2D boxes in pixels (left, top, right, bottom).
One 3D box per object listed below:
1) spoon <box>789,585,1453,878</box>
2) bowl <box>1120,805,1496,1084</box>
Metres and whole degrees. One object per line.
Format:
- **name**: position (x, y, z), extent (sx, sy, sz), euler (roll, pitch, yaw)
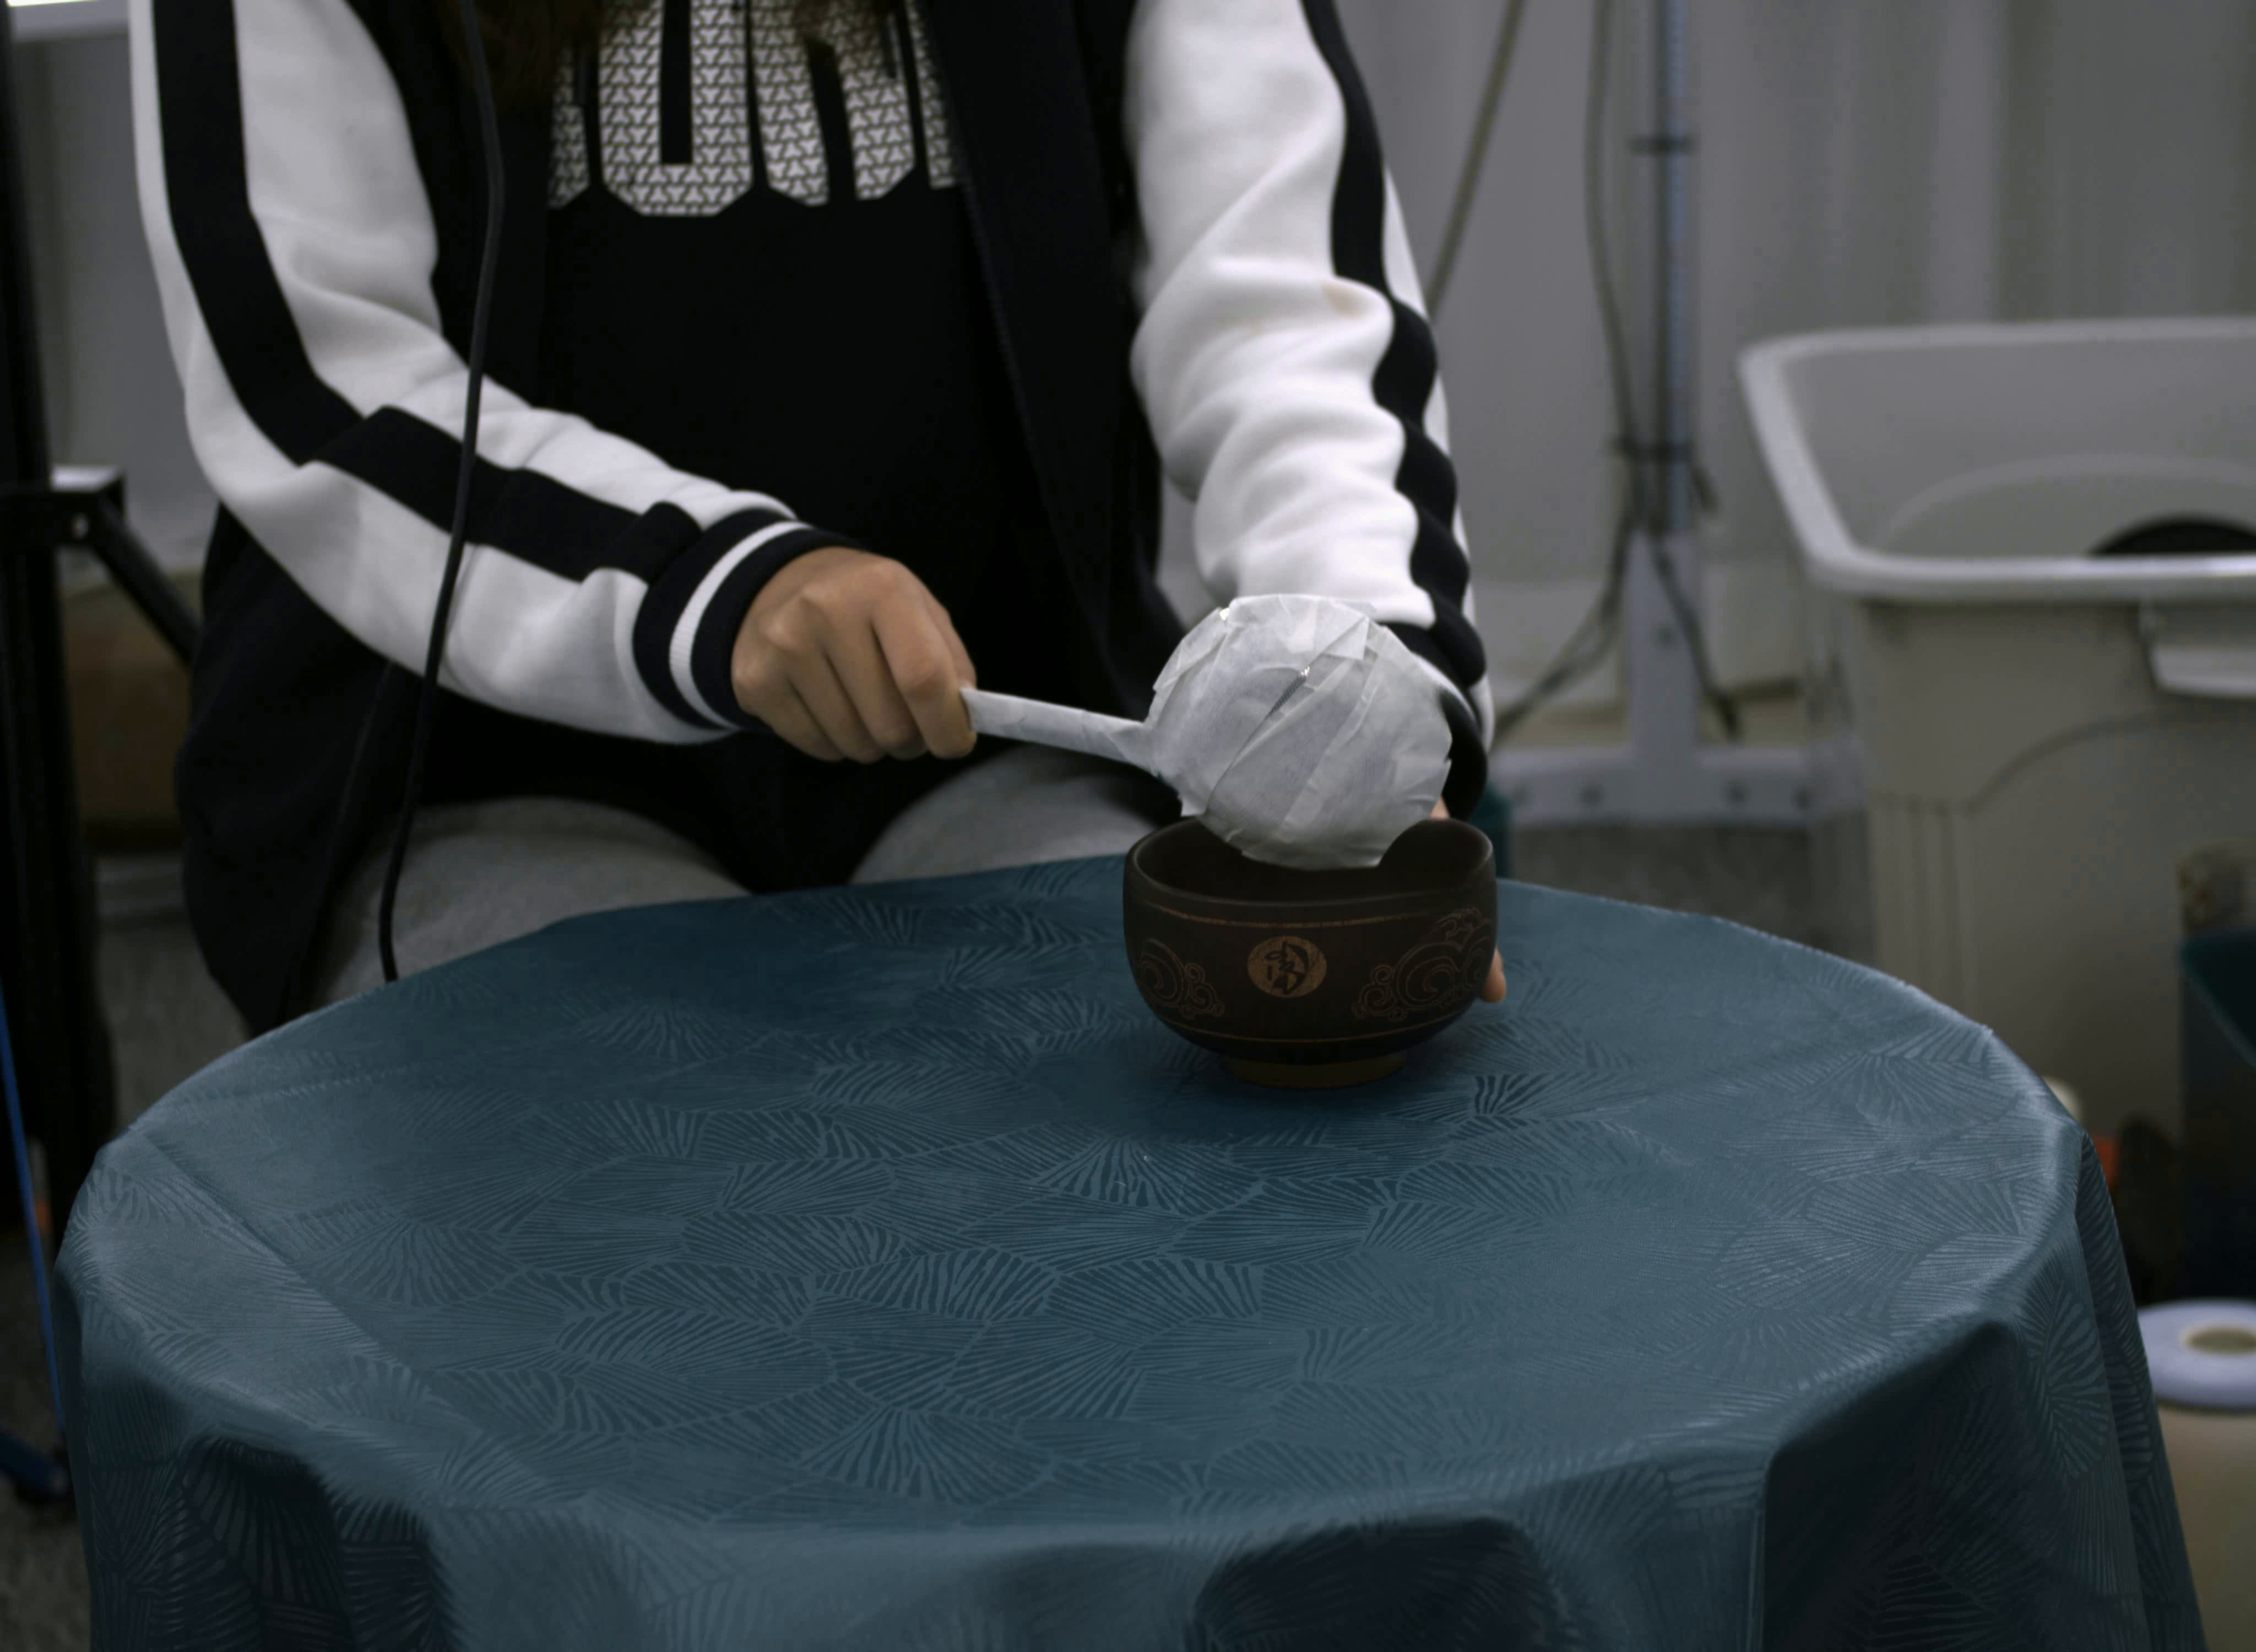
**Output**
- **spoon**: position (-0.007, -0.038, 1.711), extent (0.058, 0.100, 0.283), euler (-26, 22, -32)
- **bowl**: position (0.057, 0.039, 1.657), extent (0.117, 0.070, 0.118), euler (-3, 15, -1)
